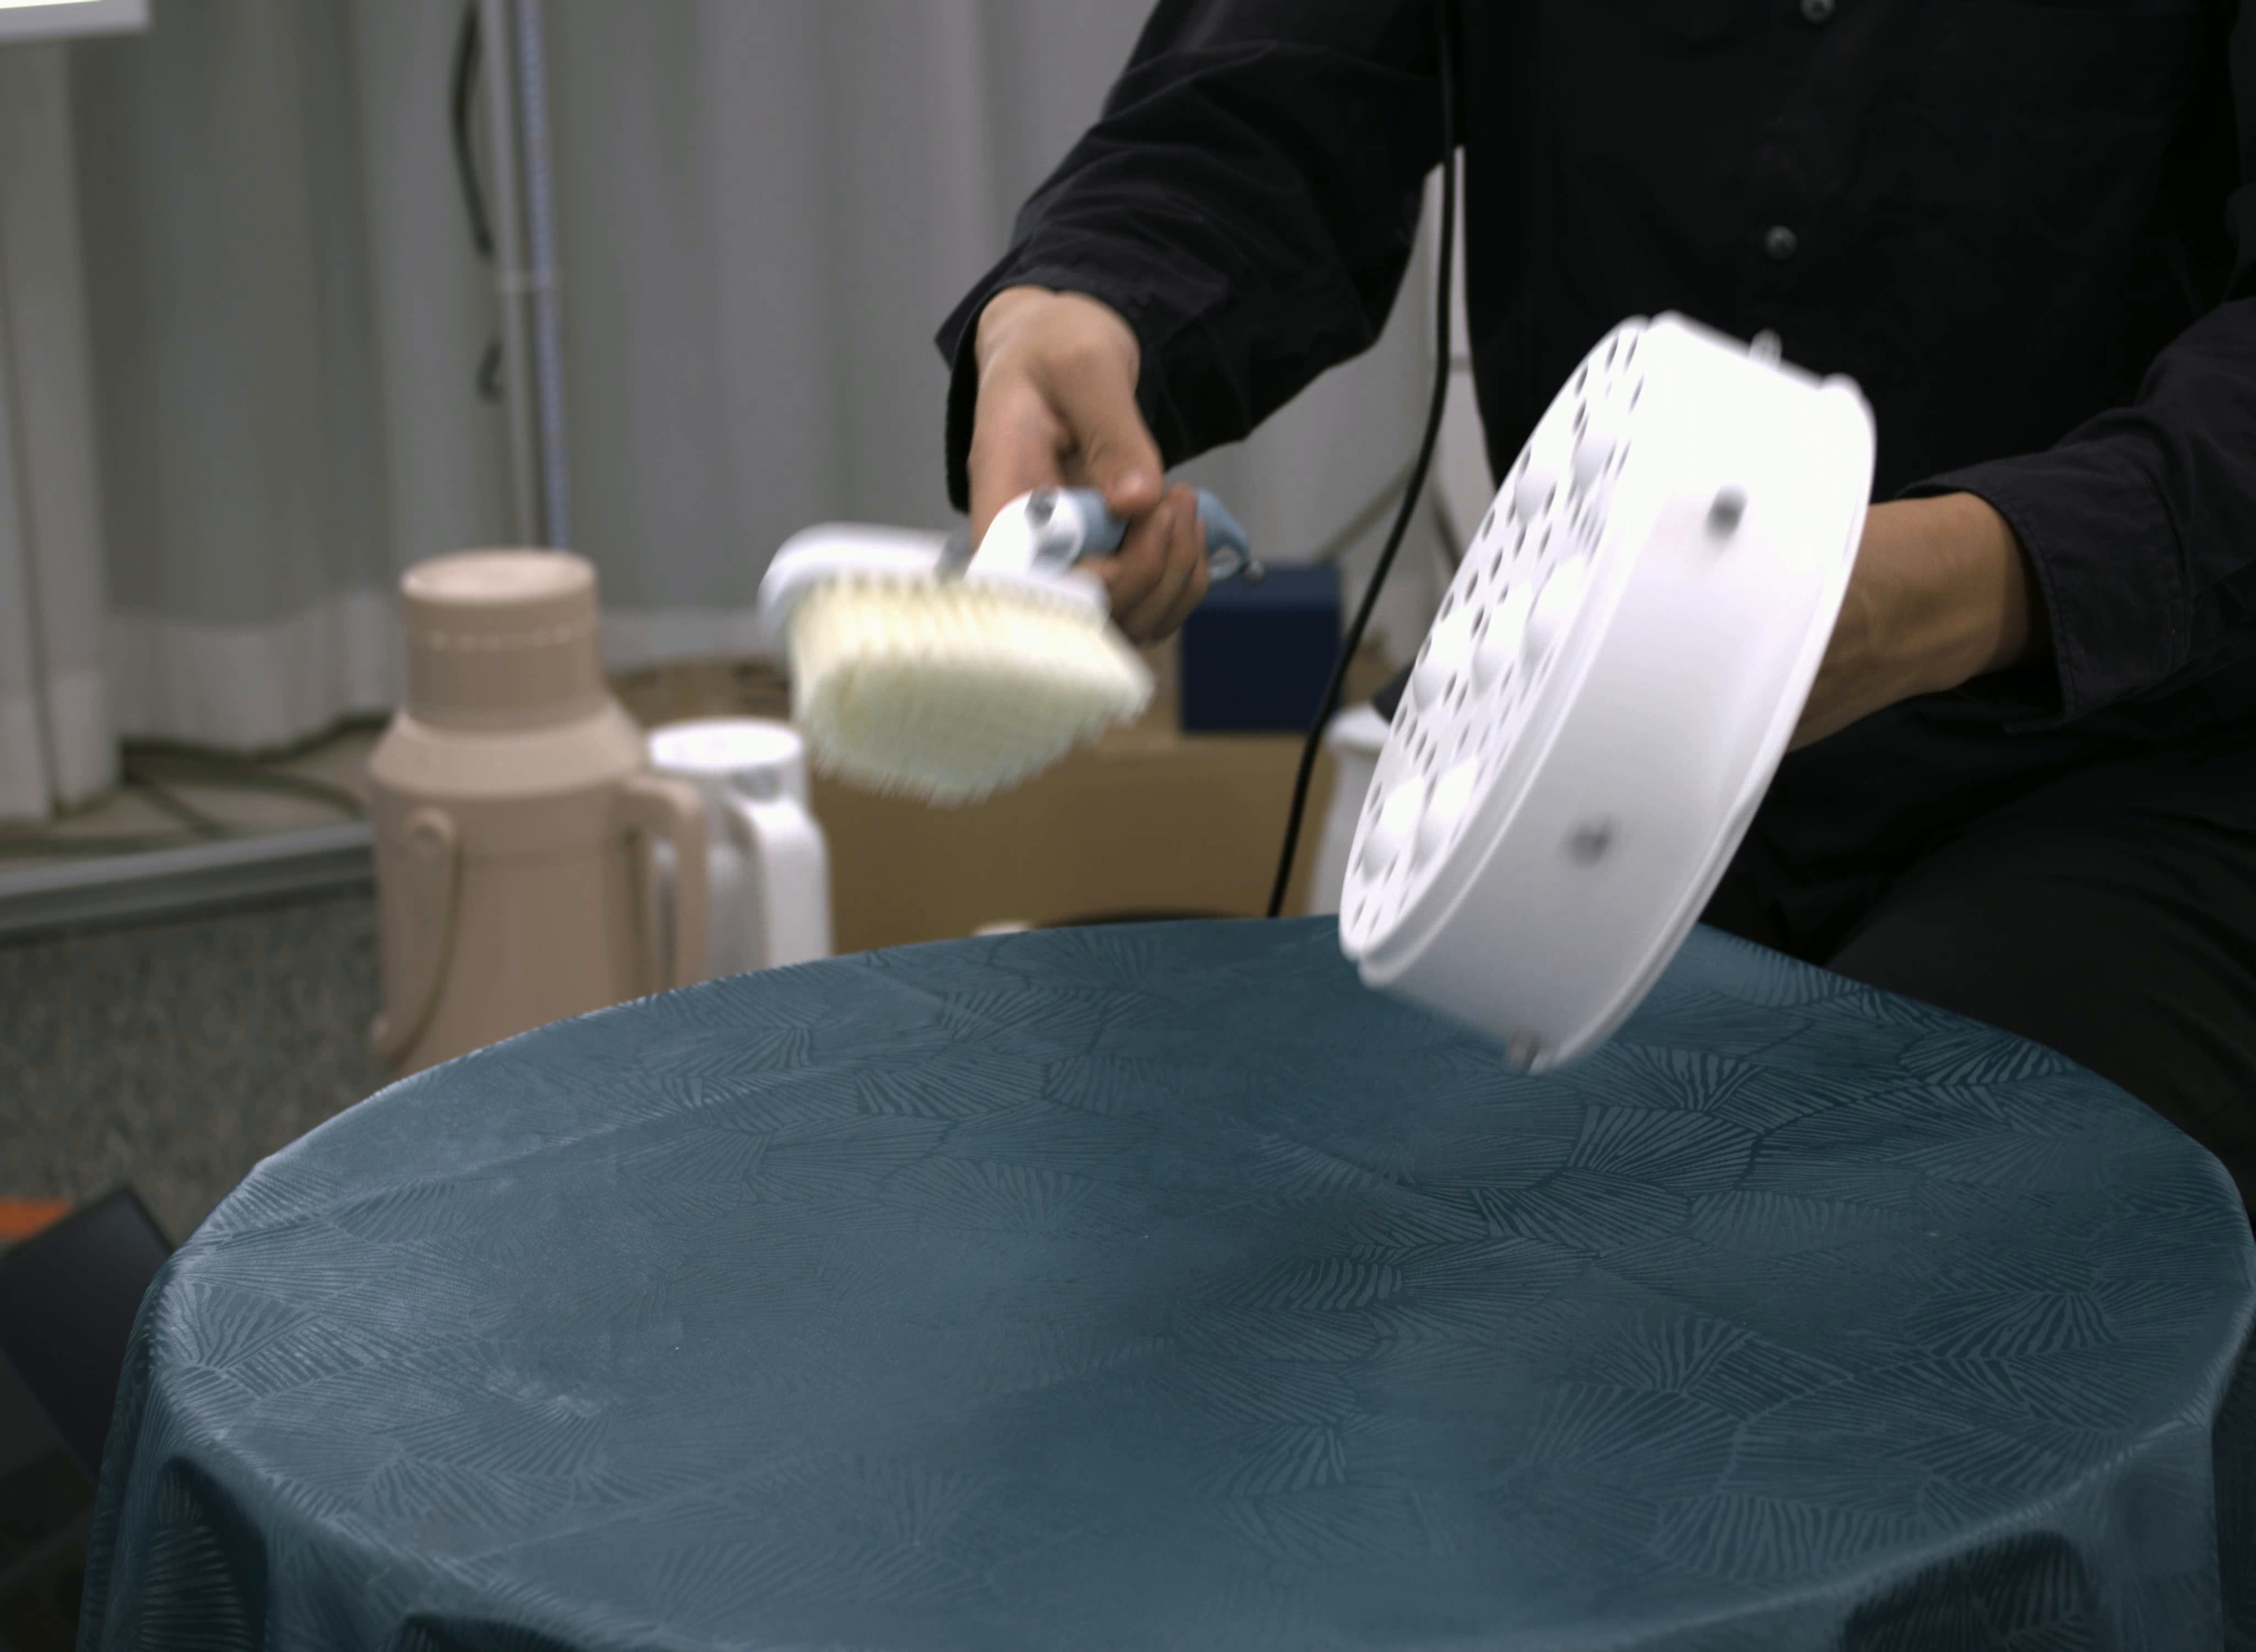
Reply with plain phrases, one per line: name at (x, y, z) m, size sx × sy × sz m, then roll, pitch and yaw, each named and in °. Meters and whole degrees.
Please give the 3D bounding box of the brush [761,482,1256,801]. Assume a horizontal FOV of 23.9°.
brush at (-0.011, -0.051, 1.569) m, size 0.084 × 0.085 × 0.320 m, roll 11°, pitch 9°, yaw 22°

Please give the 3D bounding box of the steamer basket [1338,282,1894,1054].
steamer basket at (0.124, -0.043, 1.404) m, size 0.068 × 0.202 × 0.232 m, roll 25°, pitch -9°, yaw -8°
